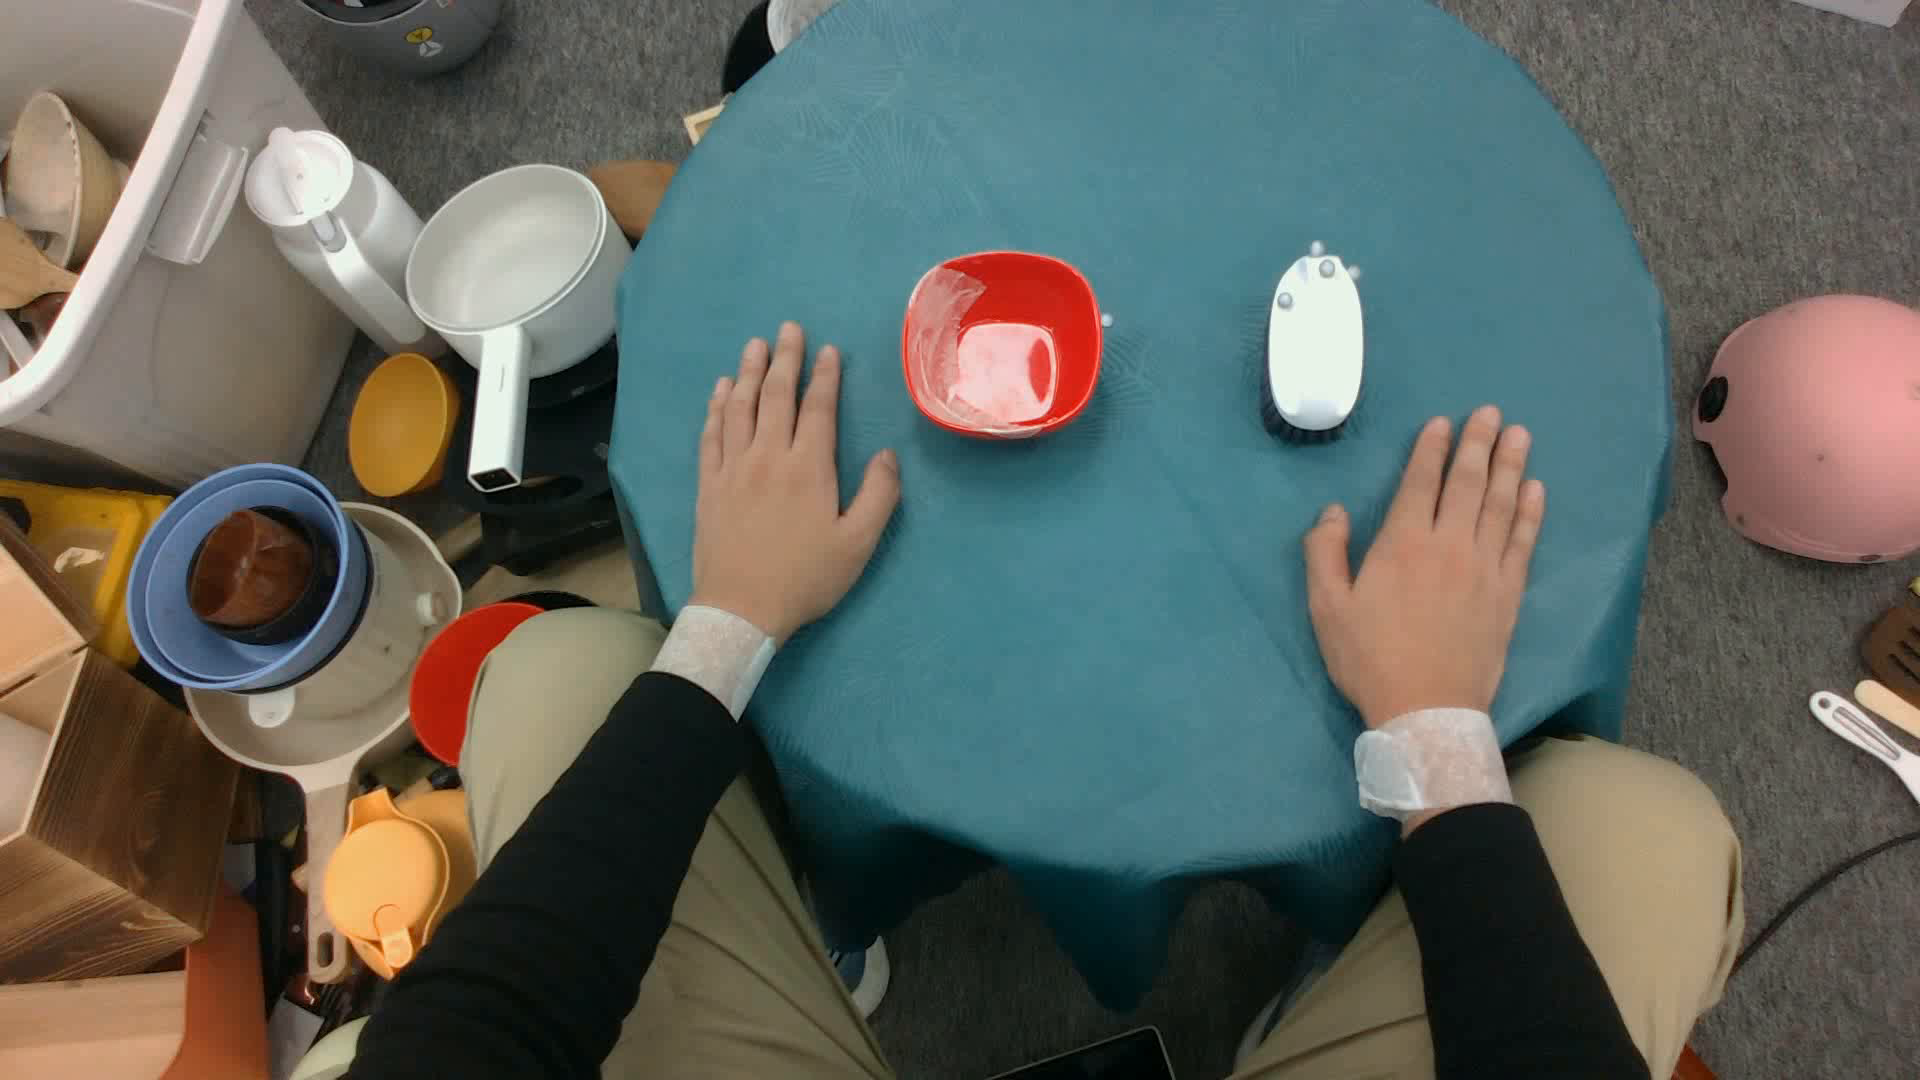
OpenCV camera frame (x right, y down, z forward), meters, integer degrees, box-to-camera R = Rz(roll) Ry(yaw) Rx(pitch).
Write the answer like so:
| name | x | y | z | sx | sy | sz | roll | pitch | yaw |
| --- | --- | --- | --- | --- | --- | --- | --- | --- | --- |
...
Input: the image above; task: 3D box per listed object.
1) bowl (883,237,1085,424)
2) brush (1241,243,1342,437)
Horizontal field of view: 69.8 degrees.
| name | x | y | z | sx | sy | sz | roll | pitch | yaw |
| --- | --- | --- | --- | --- | --- | --- | --- | --- | --- |
| bowl | 0.014 | -0.109 | 0.770 | 0.119 | 0.051 | 0.119 | -1 | 70 | 2 |
| brush | 0.184 | -0.115 | 0.751 | 0.050 | 0.072 | 0.099 | 6 | 73 | 5 |
